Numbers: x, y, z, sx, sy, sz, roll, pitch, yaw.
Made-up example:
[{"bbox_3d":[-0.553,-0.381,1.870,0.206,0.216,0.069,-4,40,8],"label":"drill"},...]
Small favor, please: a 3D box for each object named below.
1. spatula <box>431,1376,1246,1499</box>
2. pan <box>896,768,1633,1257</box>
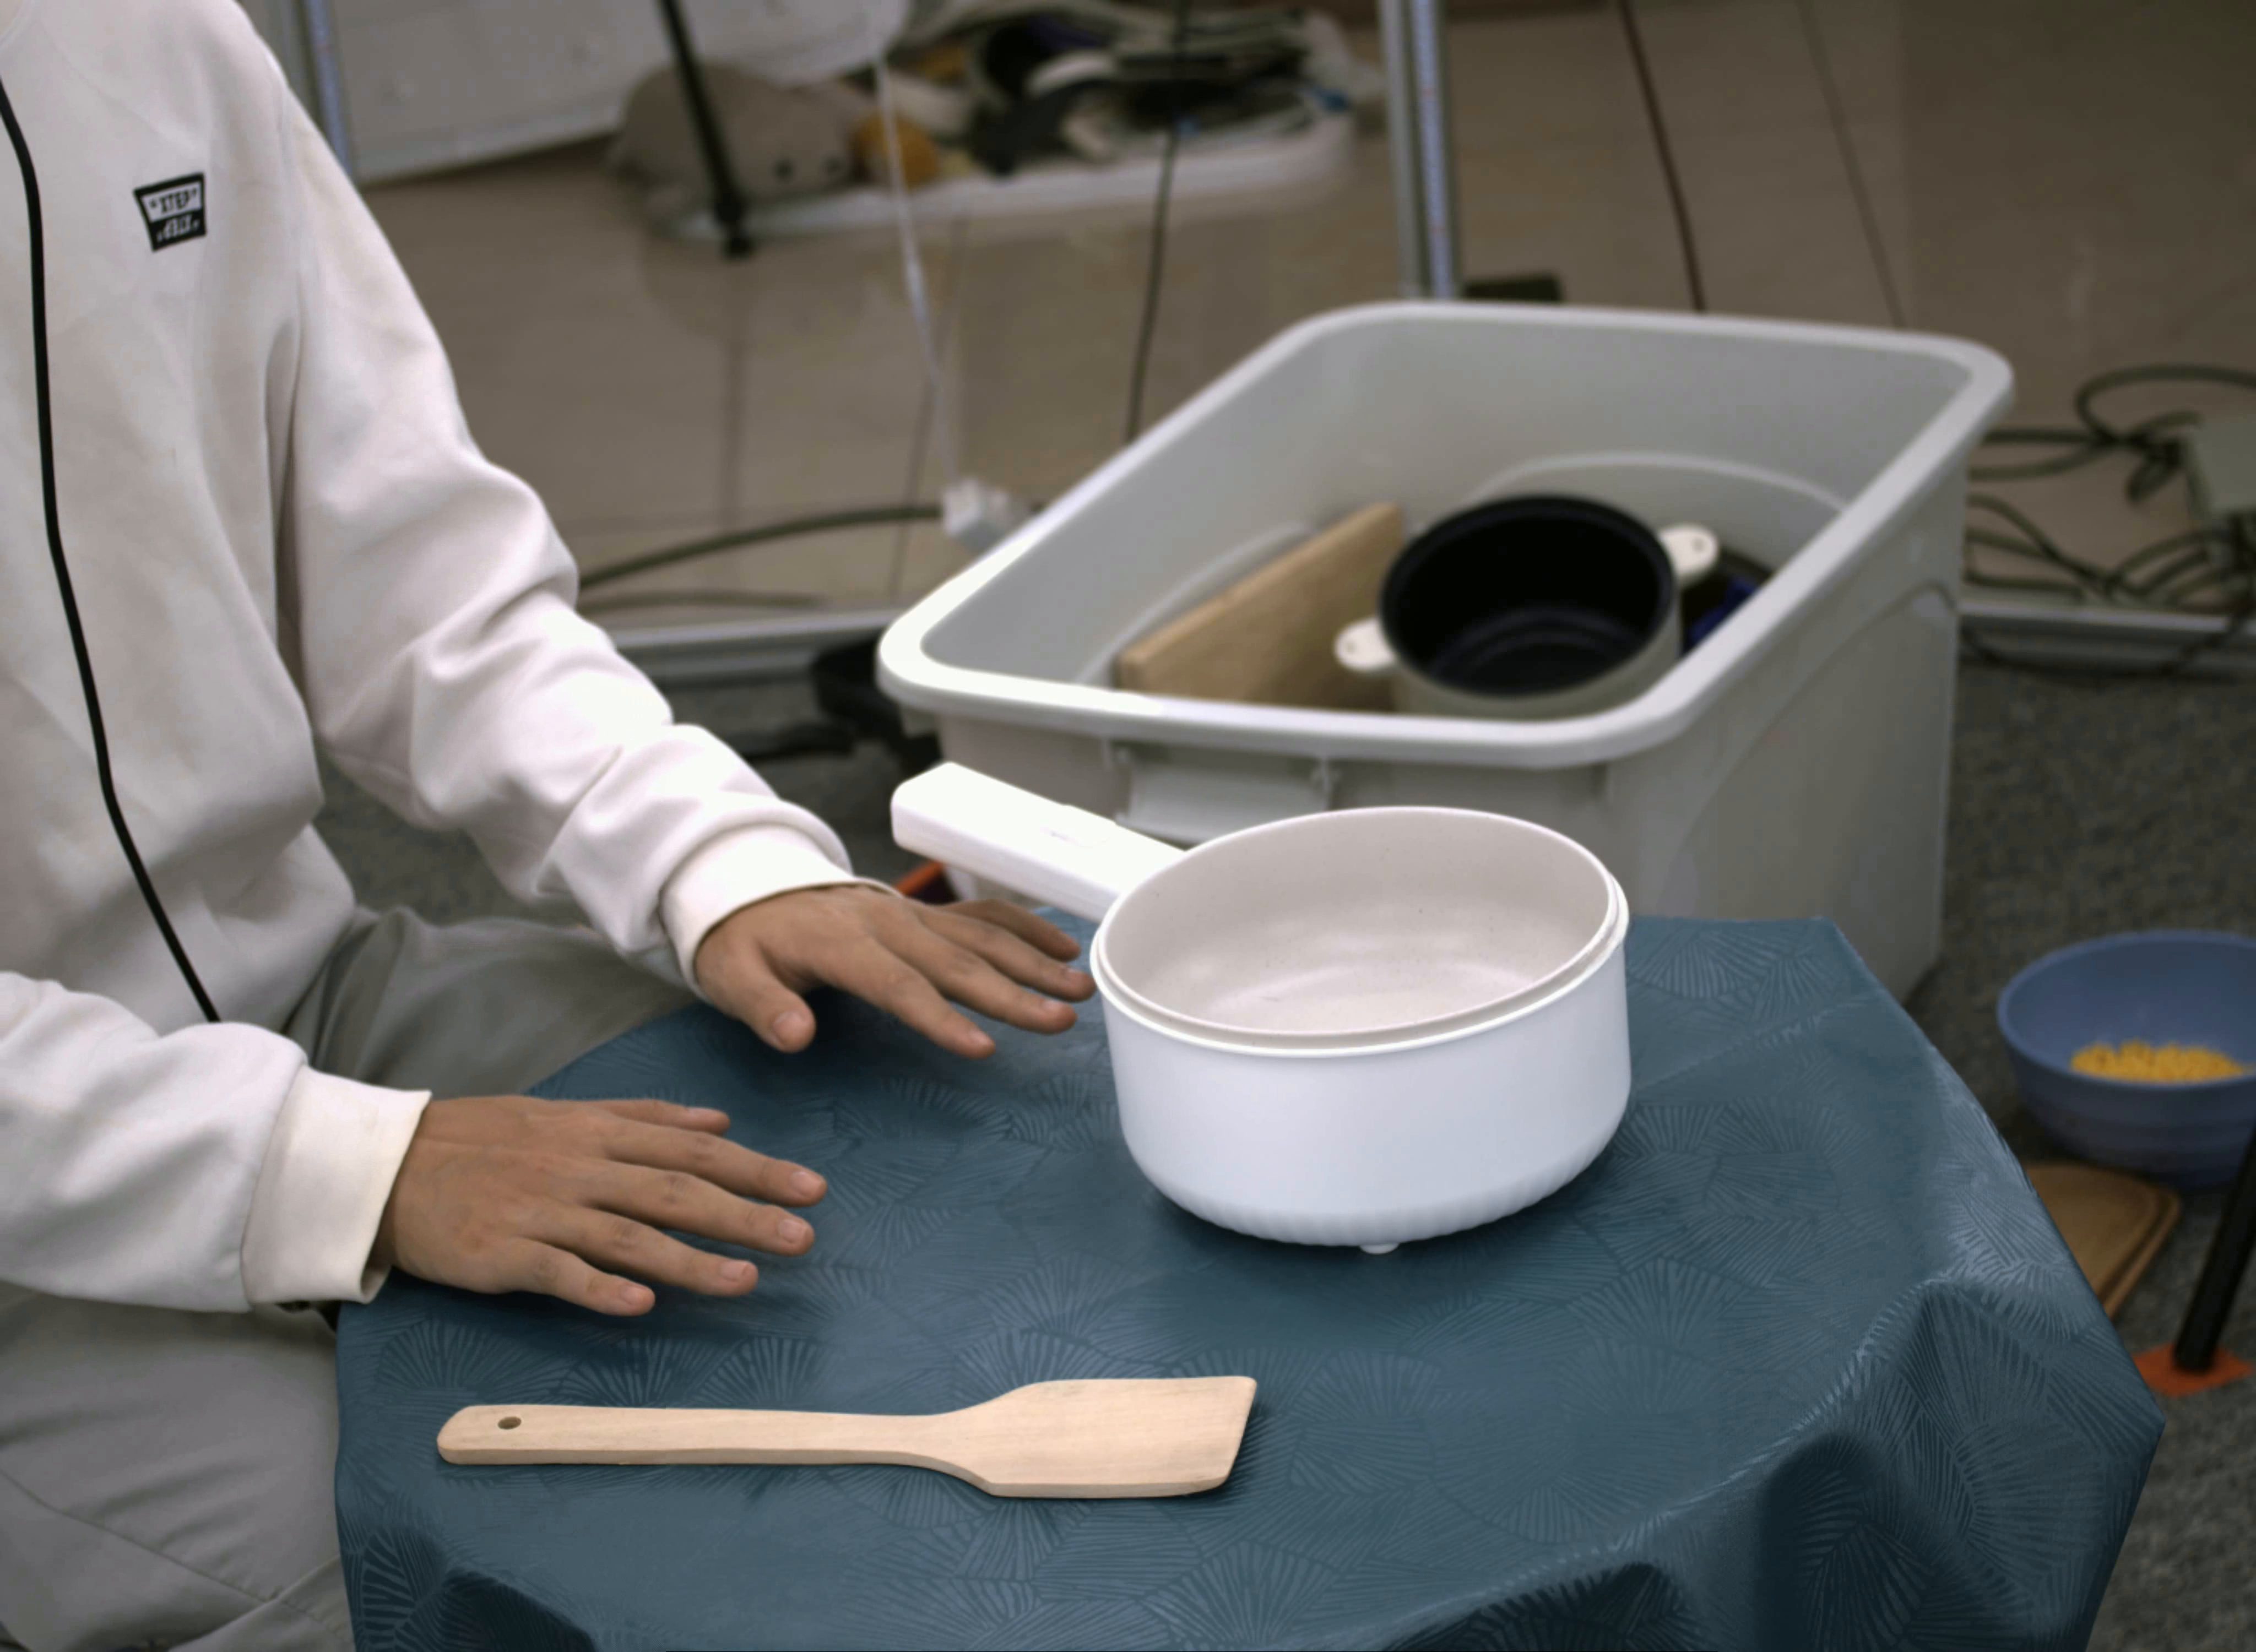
[{"bbox_3d":[-0.106,0.215,1.998,0.292,0.011,0.071,-1,27,12],"label":"spatula"},{"bbox_3d":[0.040,0.063,2.186,0.199,0.104,0.352,-27,30,-35],"label":"pan"}]
